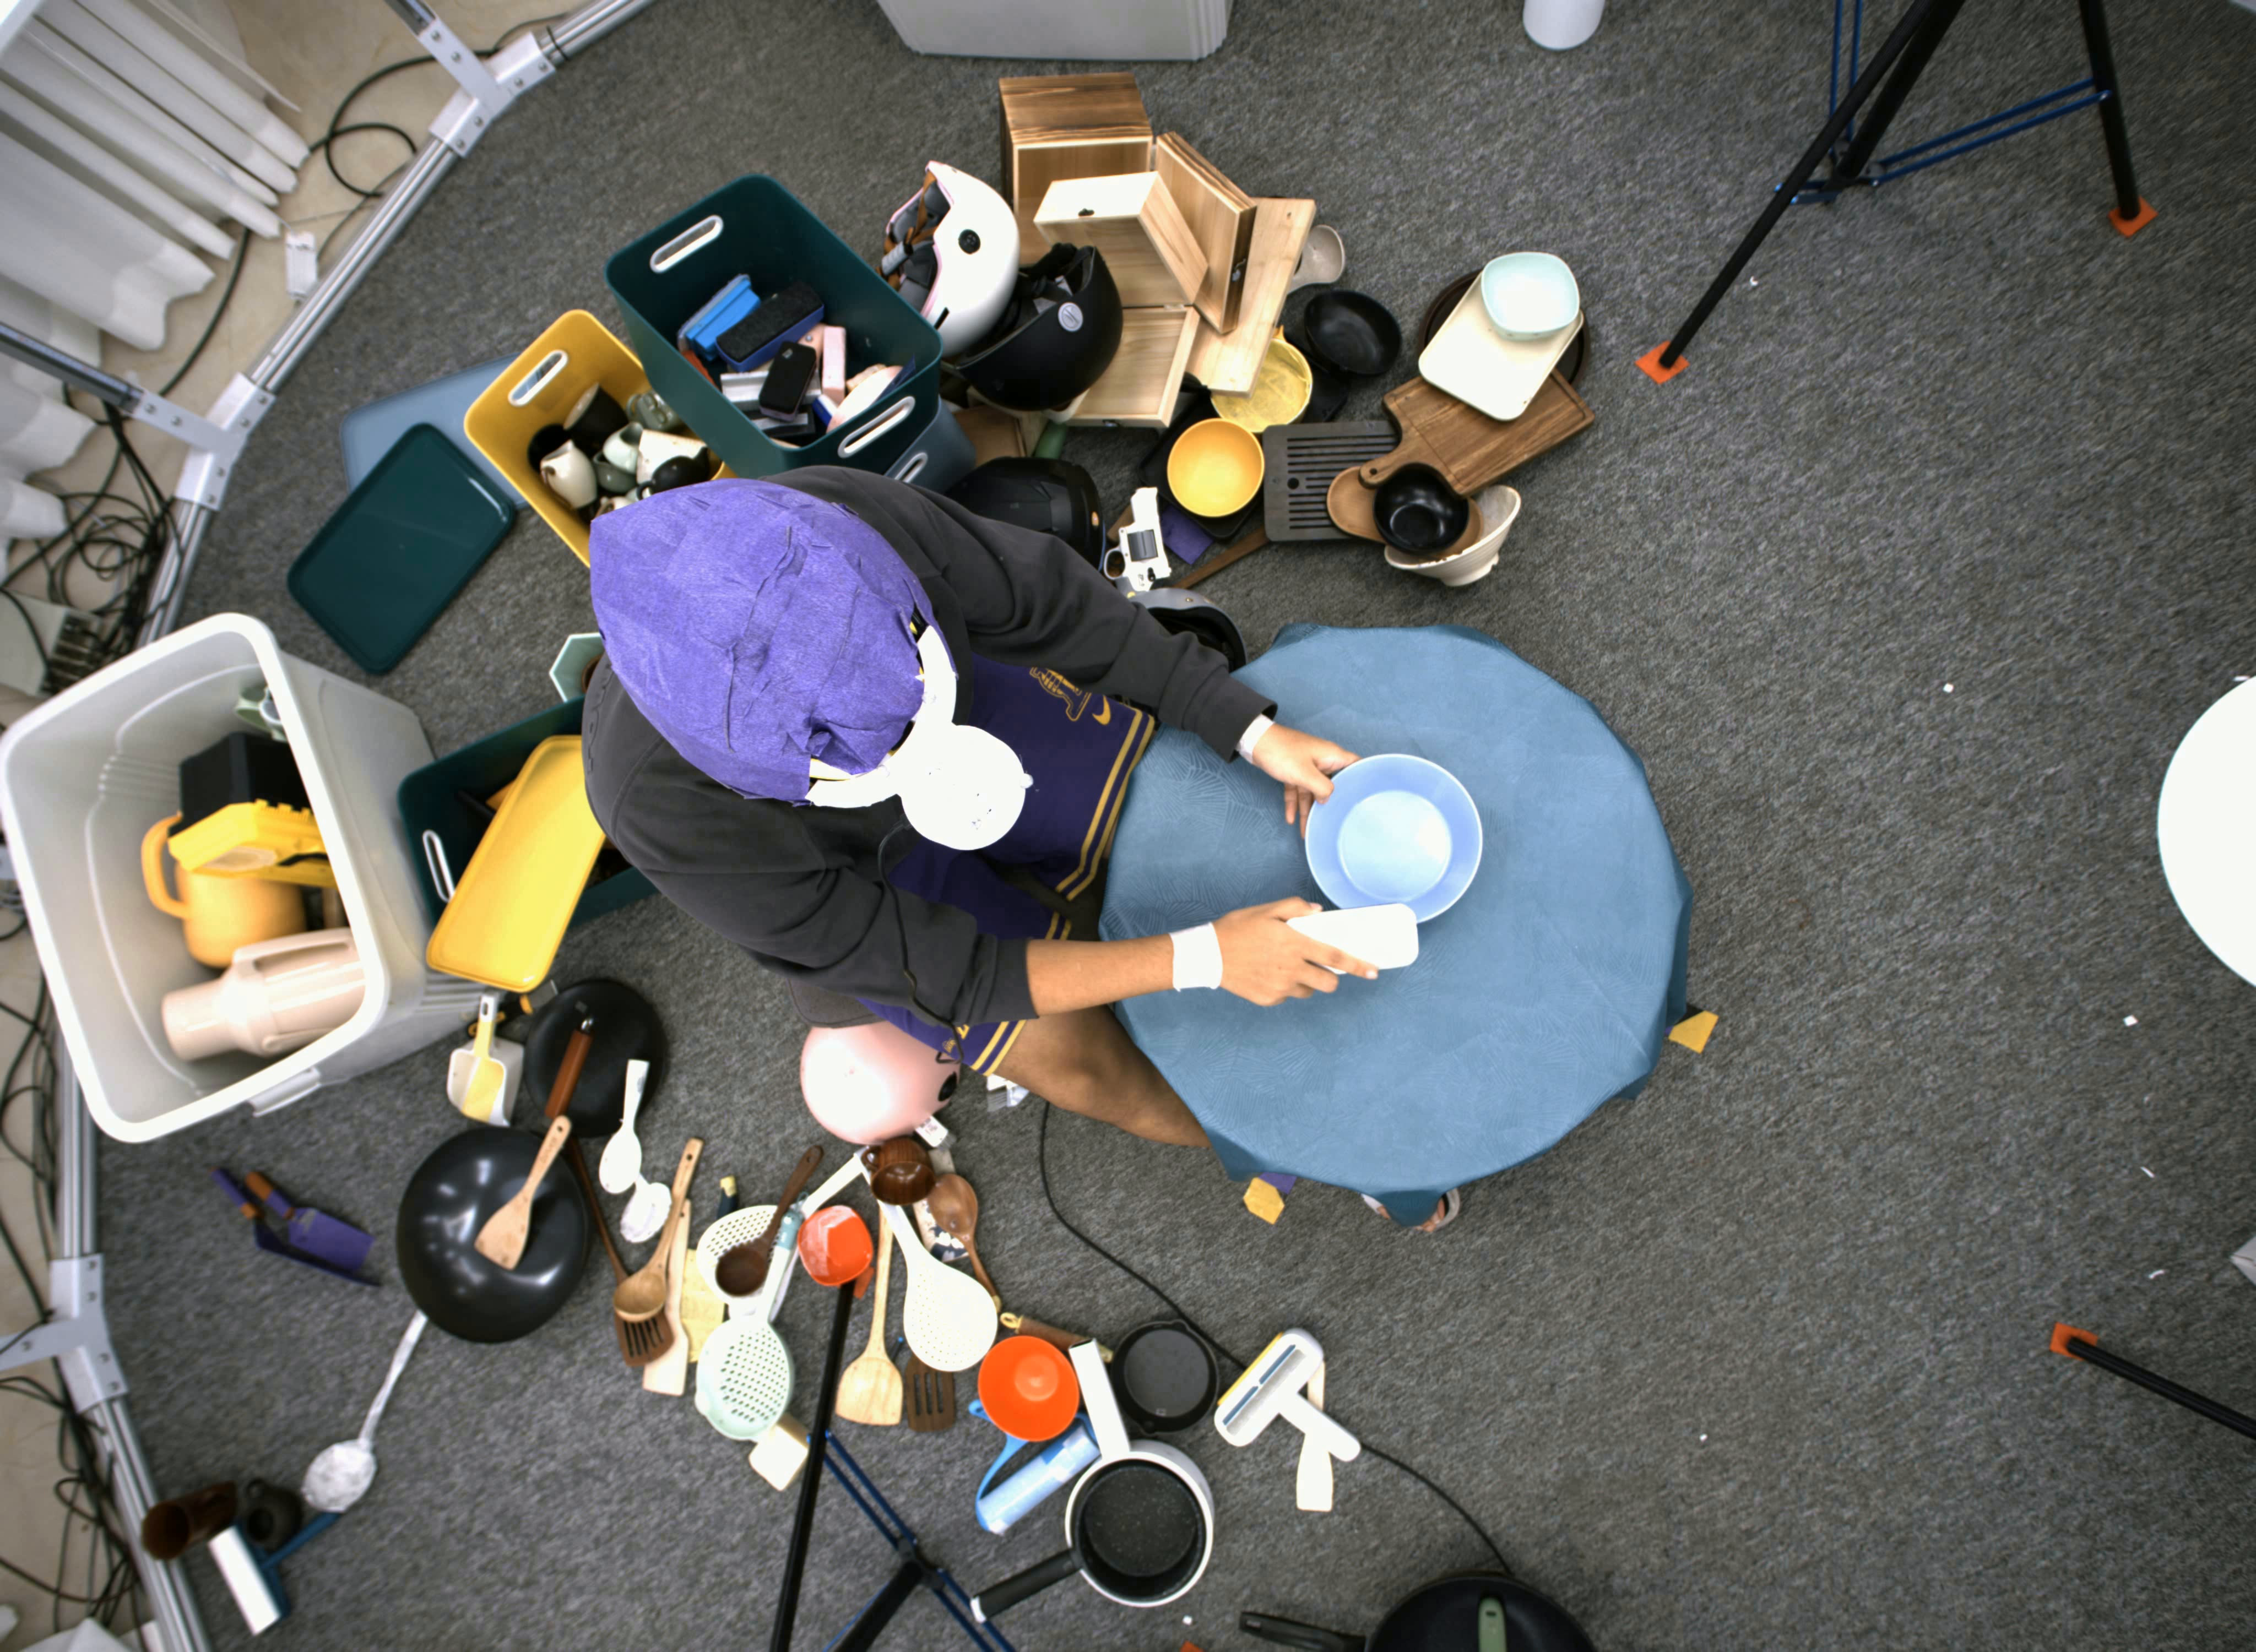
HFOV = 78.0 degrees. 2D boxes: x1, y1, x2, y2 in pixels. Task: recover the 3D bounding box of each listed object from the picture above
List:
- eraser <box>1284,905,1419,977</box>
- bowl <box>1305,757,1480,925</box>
[{"bbox_3d":[0.221,0.111,1.368,0.131,0.034,0.064,-6,104,3],"label":"eraser"},{"bbox_3d":[0.271,0.019,1.418,0.177,0.070,0.175,-1,84,11],"label":"bowl"}]
